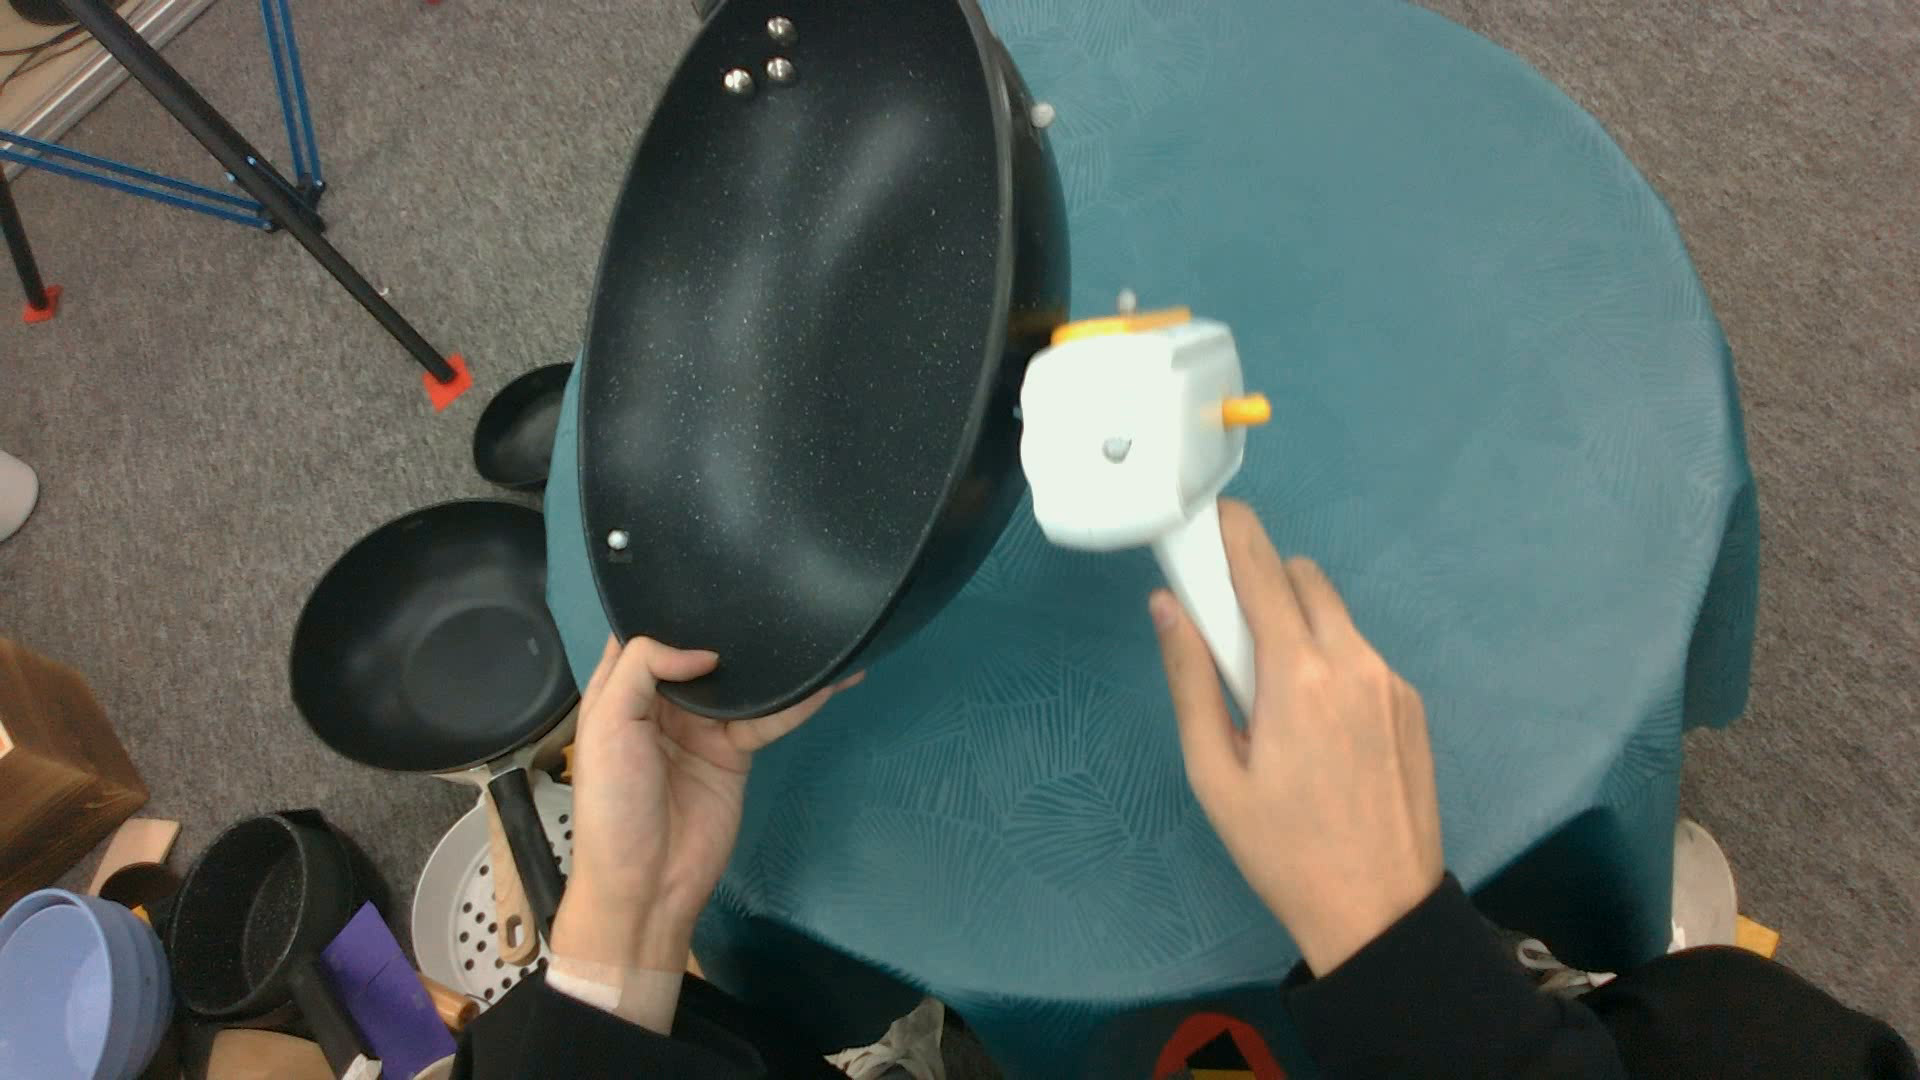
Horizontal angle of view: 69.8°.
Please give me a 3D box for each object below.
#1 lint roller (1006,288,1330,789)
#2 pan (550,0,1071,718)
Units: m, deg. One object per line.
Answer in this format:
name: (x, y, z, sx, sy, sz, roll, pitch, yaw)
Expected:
lint roller: (0.084, 0.005, 0.503, 0.074, 0.193, 0.192, -15, 99, 15)
pan: (-0.081, -0.159, 0.590, 0.309, 0.112, 0.478, -30, 62, 40)
